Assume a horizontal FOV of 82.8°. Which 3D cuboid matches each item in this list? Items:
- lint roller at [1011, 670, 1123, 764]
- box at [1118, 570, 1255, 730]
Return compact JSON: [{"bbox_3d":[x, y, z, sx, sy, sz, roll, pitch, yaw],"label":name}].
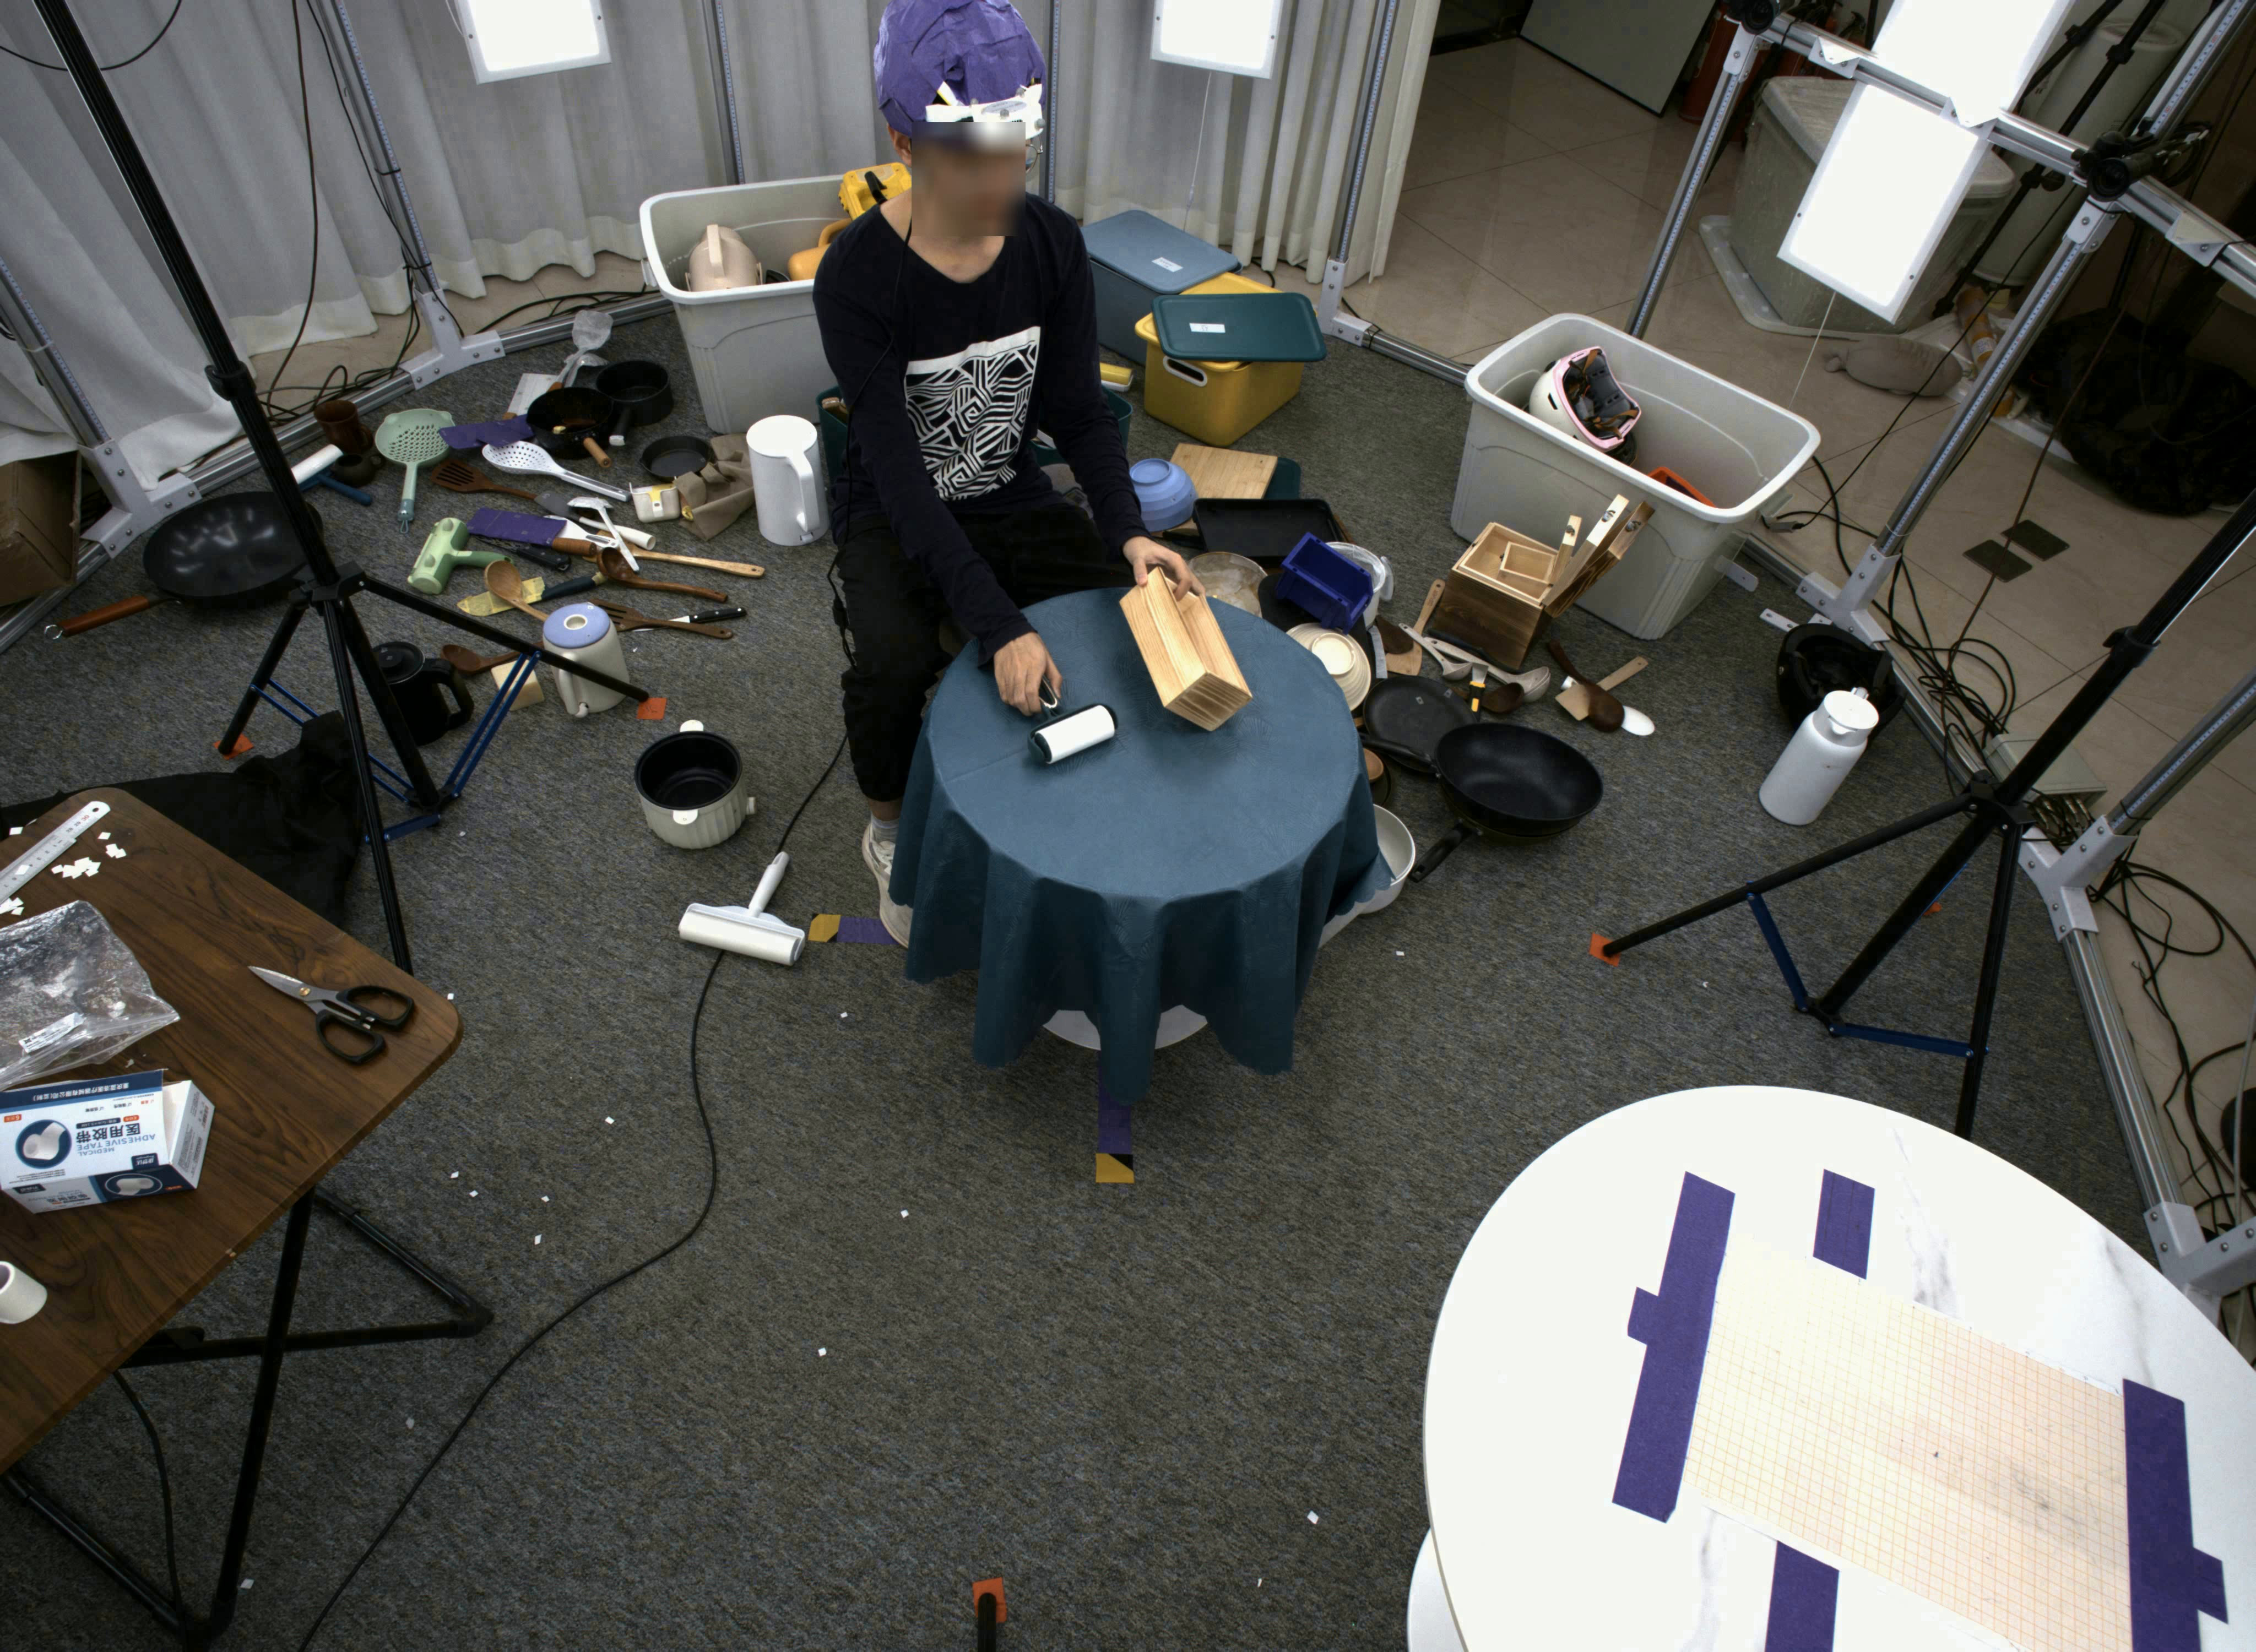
[{"bbox_3d":[-0.109,-0.171,1.771,0.135,0.047,0.183,-25,58,-23],"label":"lint roller"},{"bbox_3d":[0.080,-0.248,1.798,0.106,0.079,0.216,20,36,-43],"label":"box"}]
